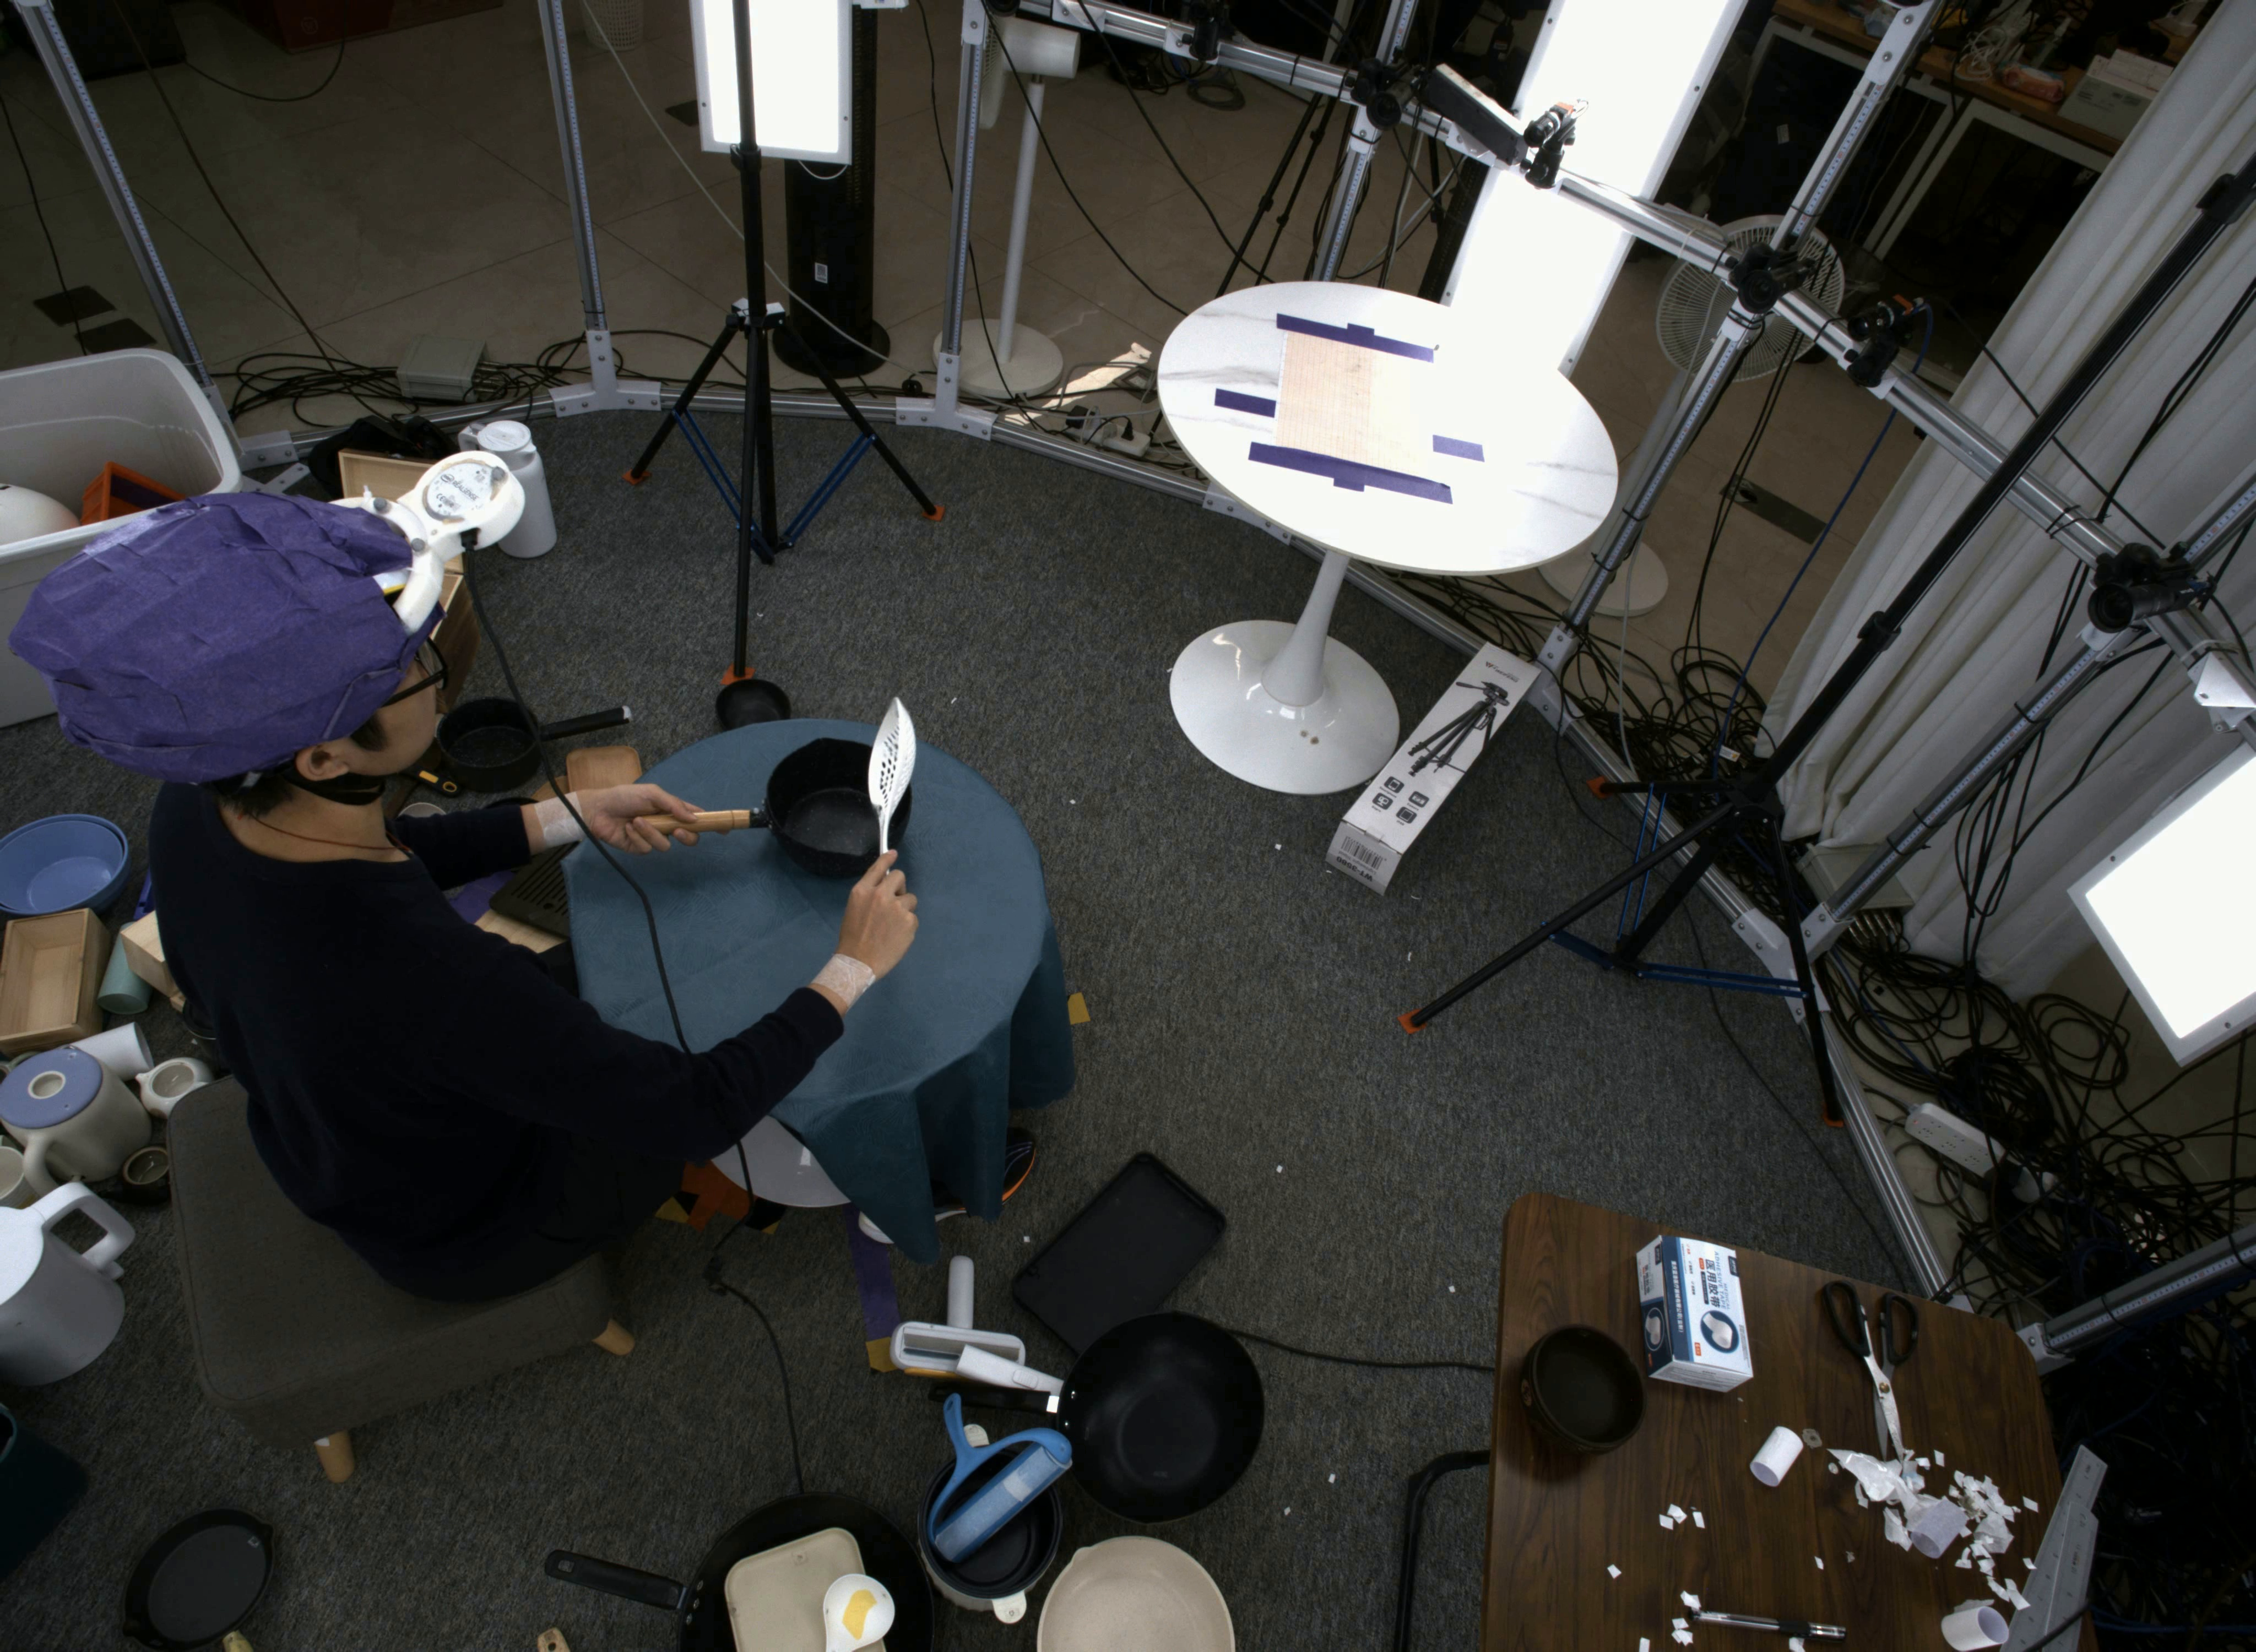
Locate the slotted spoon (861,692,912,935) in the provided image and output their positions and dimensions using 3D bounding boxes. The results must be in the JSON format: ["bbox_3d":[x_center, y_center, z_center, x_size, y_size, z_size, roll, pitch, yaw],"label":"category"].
[{"bbox_3d":[-0.284,-0.011,1.557,0.051,0.138,0.340,13,46,-22],"label":"slotted spoon"}]

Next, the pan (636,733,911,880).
[{"bbox_3d":[-0.446,-0.007,1.644,0.345,0.110,0.202,-13,59,-25],"label":"pan"}]
